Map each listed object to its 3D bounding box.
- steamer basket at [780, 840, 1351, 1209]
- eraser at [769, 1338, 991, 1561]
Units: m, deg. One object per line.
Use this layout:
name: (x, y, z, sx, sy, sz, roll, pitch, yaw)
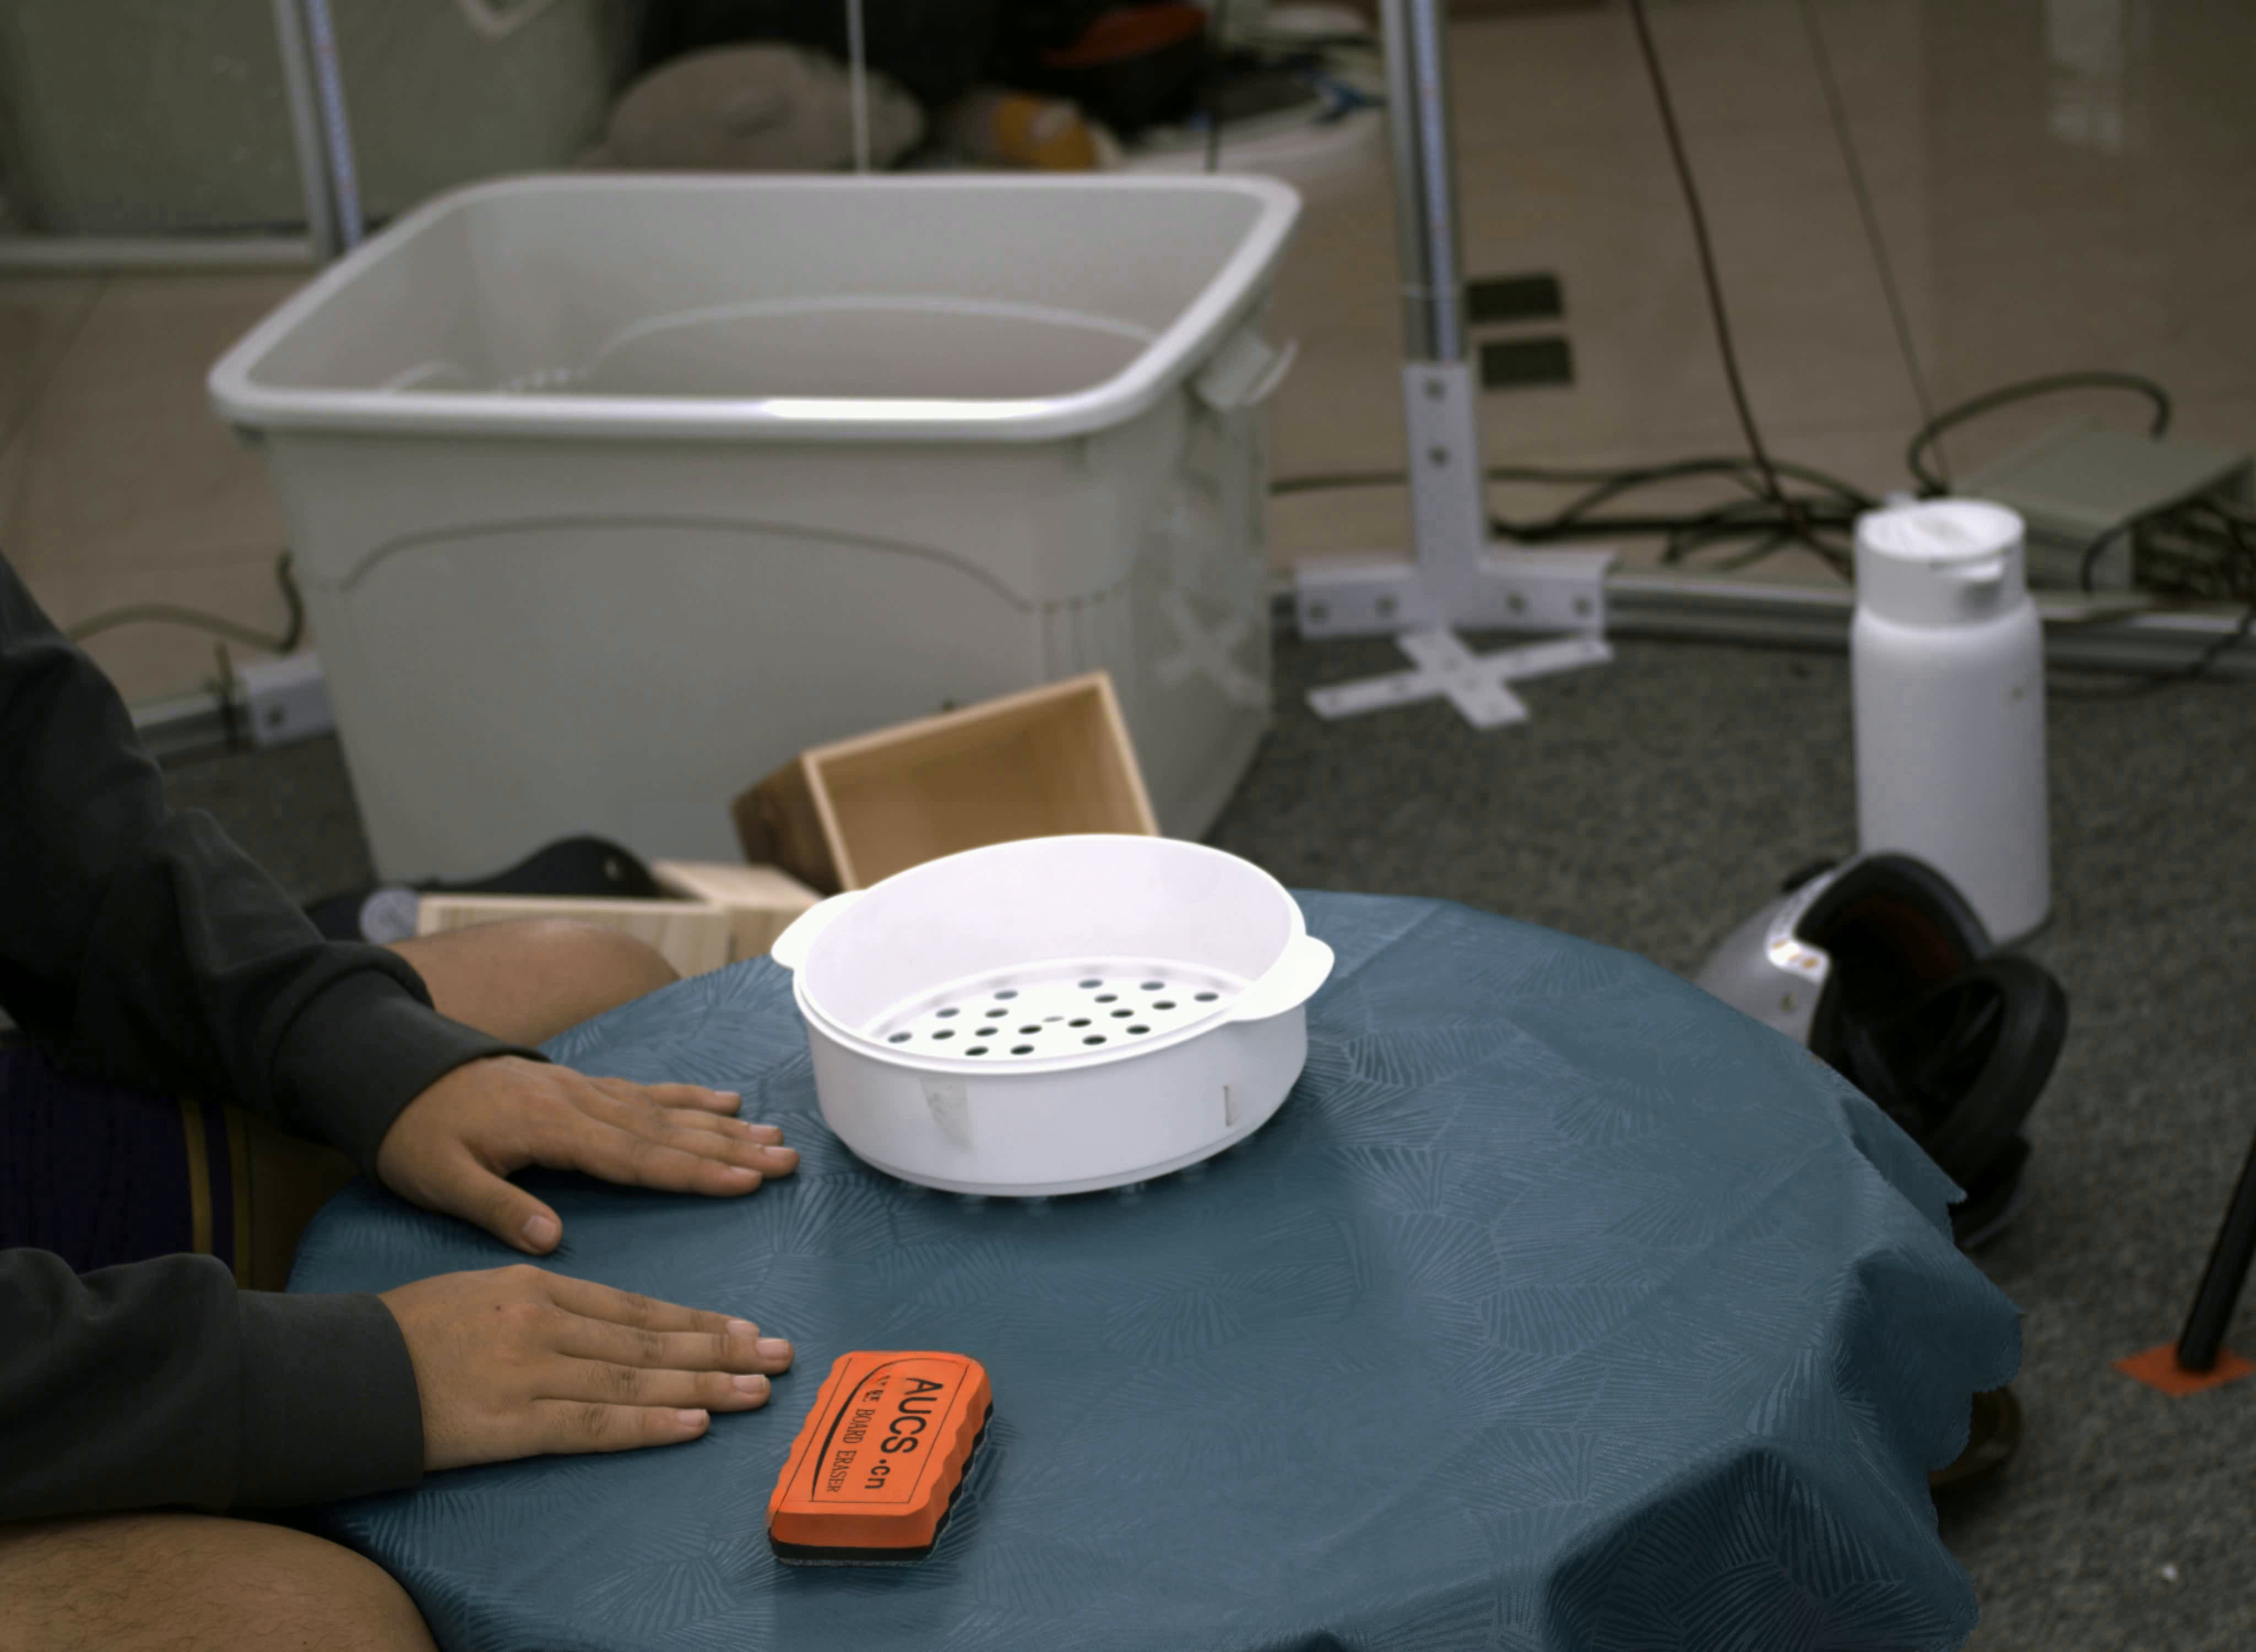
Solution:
steamer basket: (-0.023, 0.077, 2.209, 0.230, 0.070, 0.199, 6, 28, 24)
eraser: (-0.085, 0.215, 1.968, 0.059, 0.023, 0.106, -6, 25, 15)
